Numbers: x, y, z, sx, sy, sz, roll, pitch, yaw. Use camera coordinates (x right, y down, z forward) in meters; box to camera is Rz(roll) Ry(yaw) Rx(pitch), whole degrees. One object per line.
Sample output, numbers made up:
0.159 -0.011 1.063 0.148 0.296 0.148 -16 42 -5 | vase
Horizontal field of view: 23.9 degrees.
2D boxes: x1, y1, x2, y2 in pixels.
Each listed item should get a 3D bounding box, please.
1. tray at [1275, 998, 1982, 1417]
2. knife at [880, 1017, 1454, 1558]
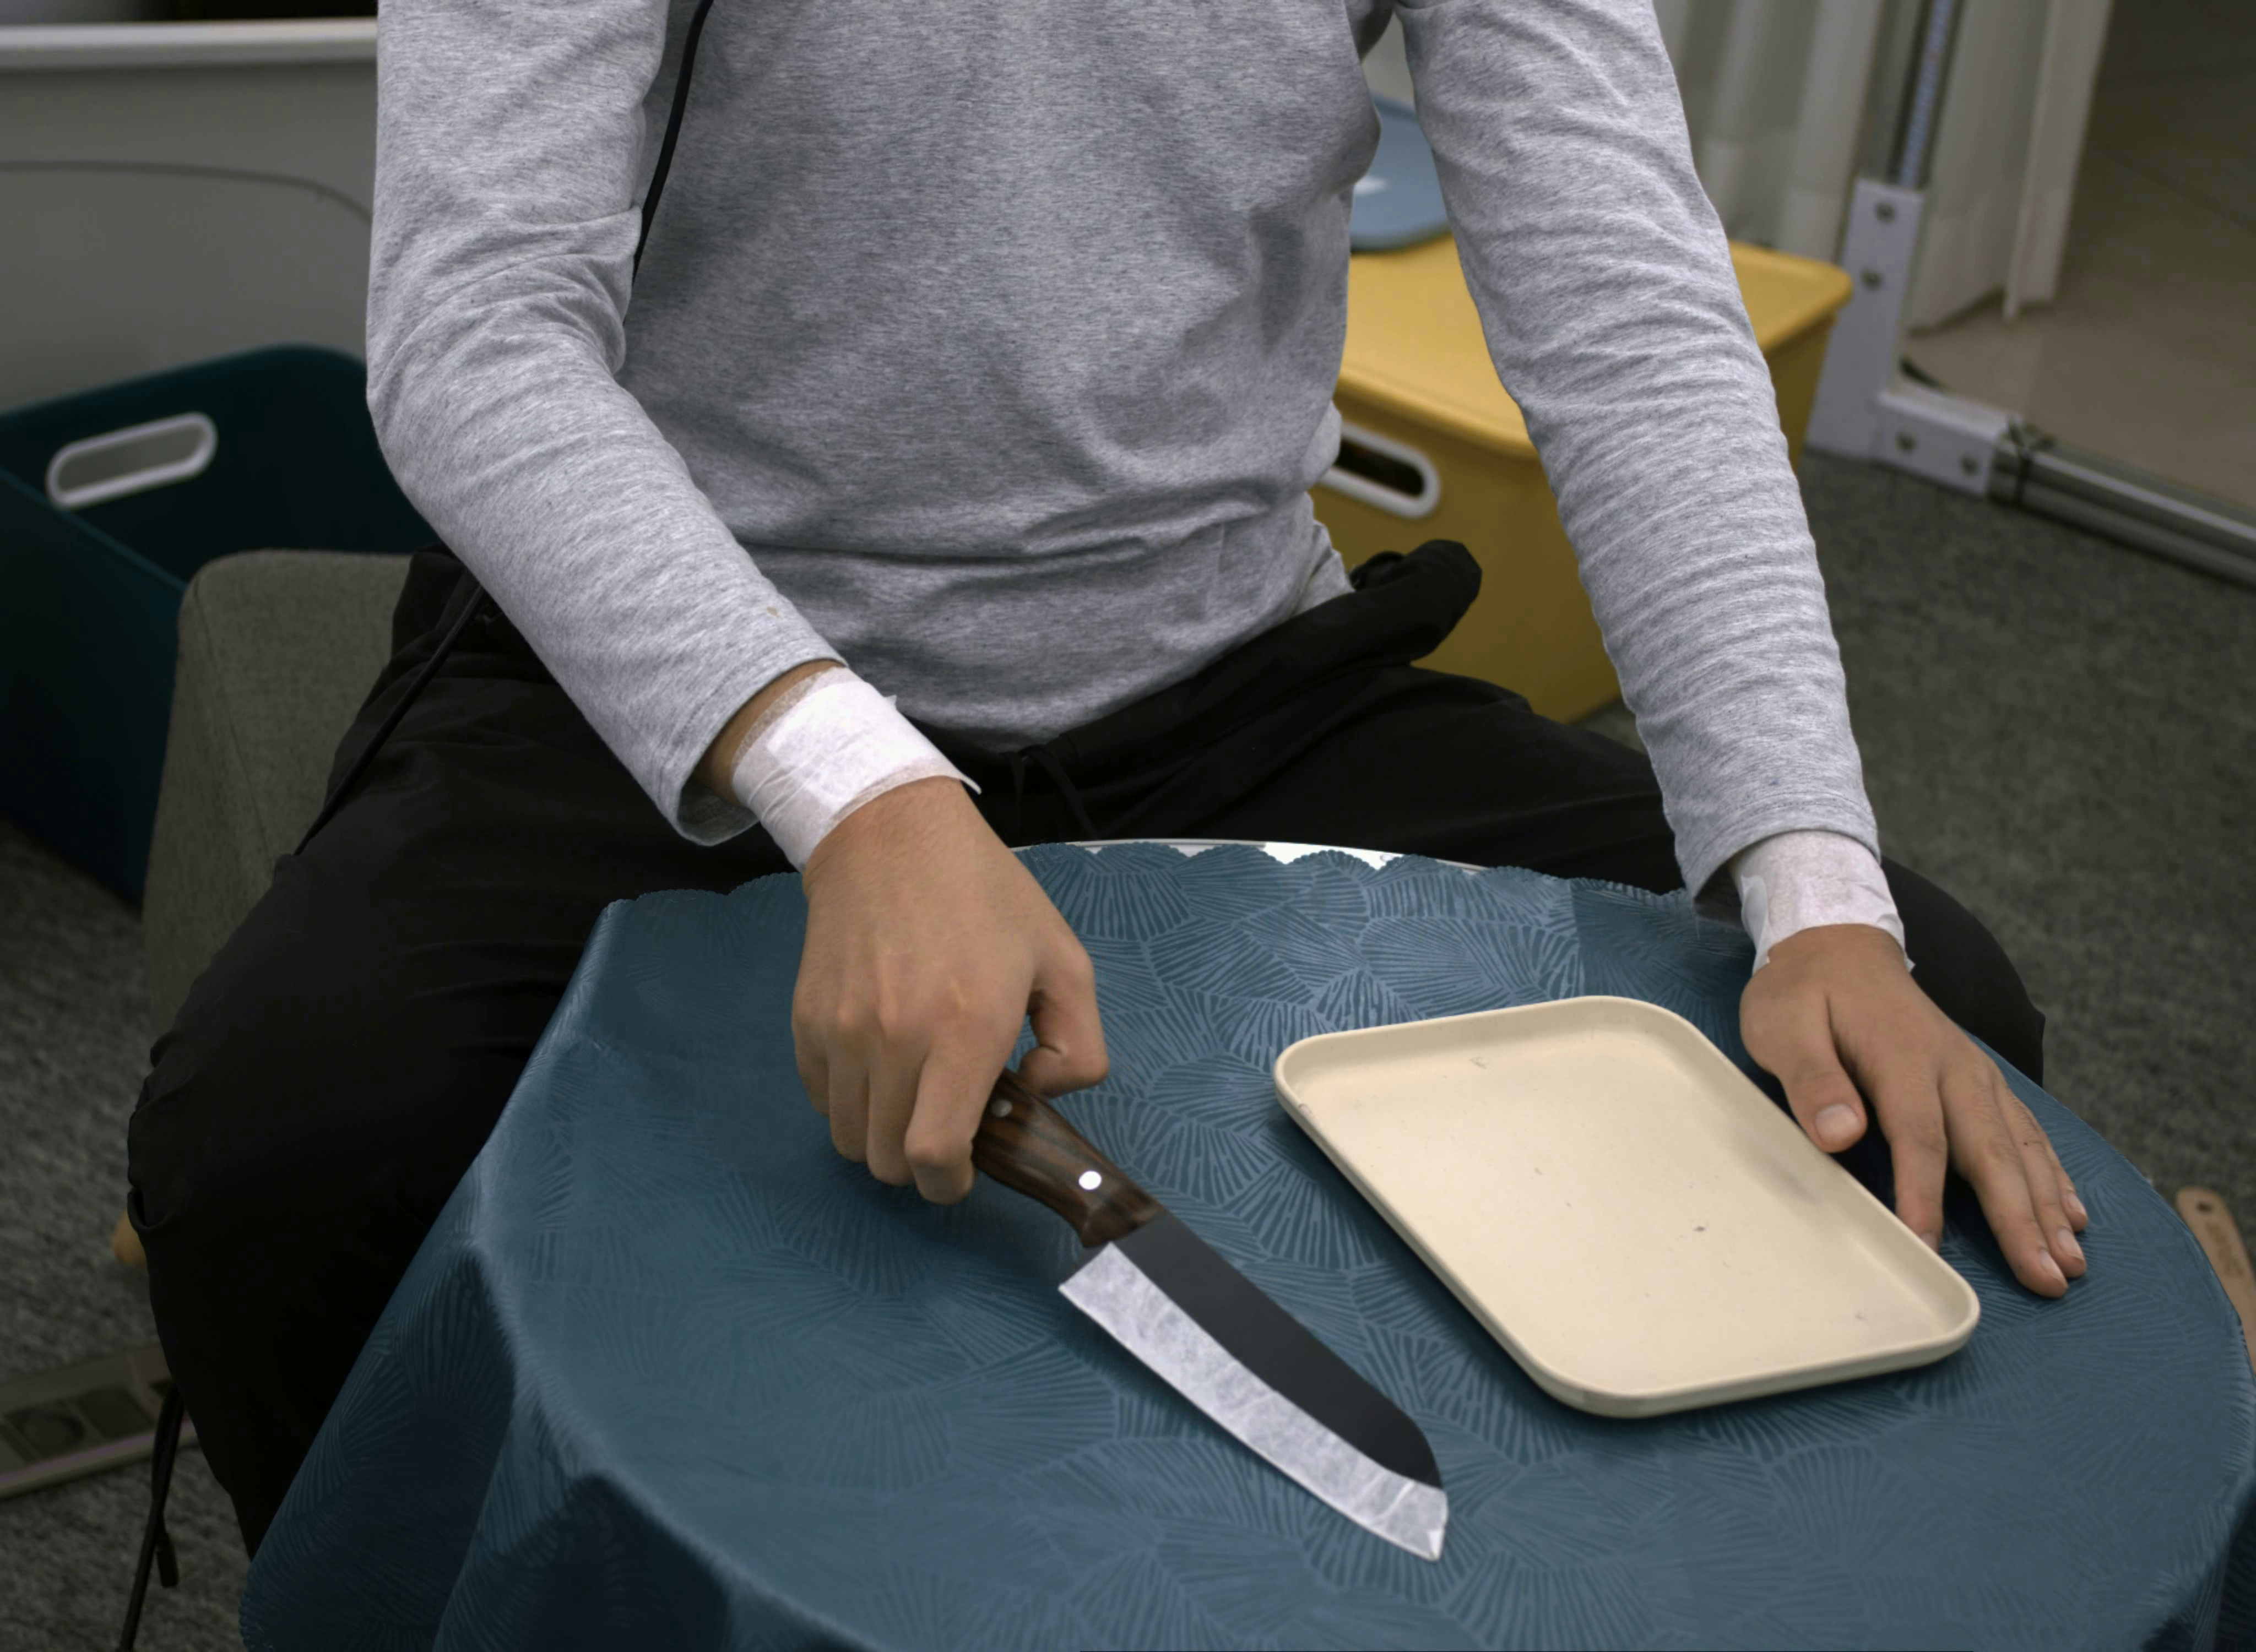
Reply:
0.167 0.128 1.815 0.170 0.017 0.242 -6 29 -25 | tray
0.010 0.146 1.714 0.050 0.020 0.291 -38 51 -15 | knife
